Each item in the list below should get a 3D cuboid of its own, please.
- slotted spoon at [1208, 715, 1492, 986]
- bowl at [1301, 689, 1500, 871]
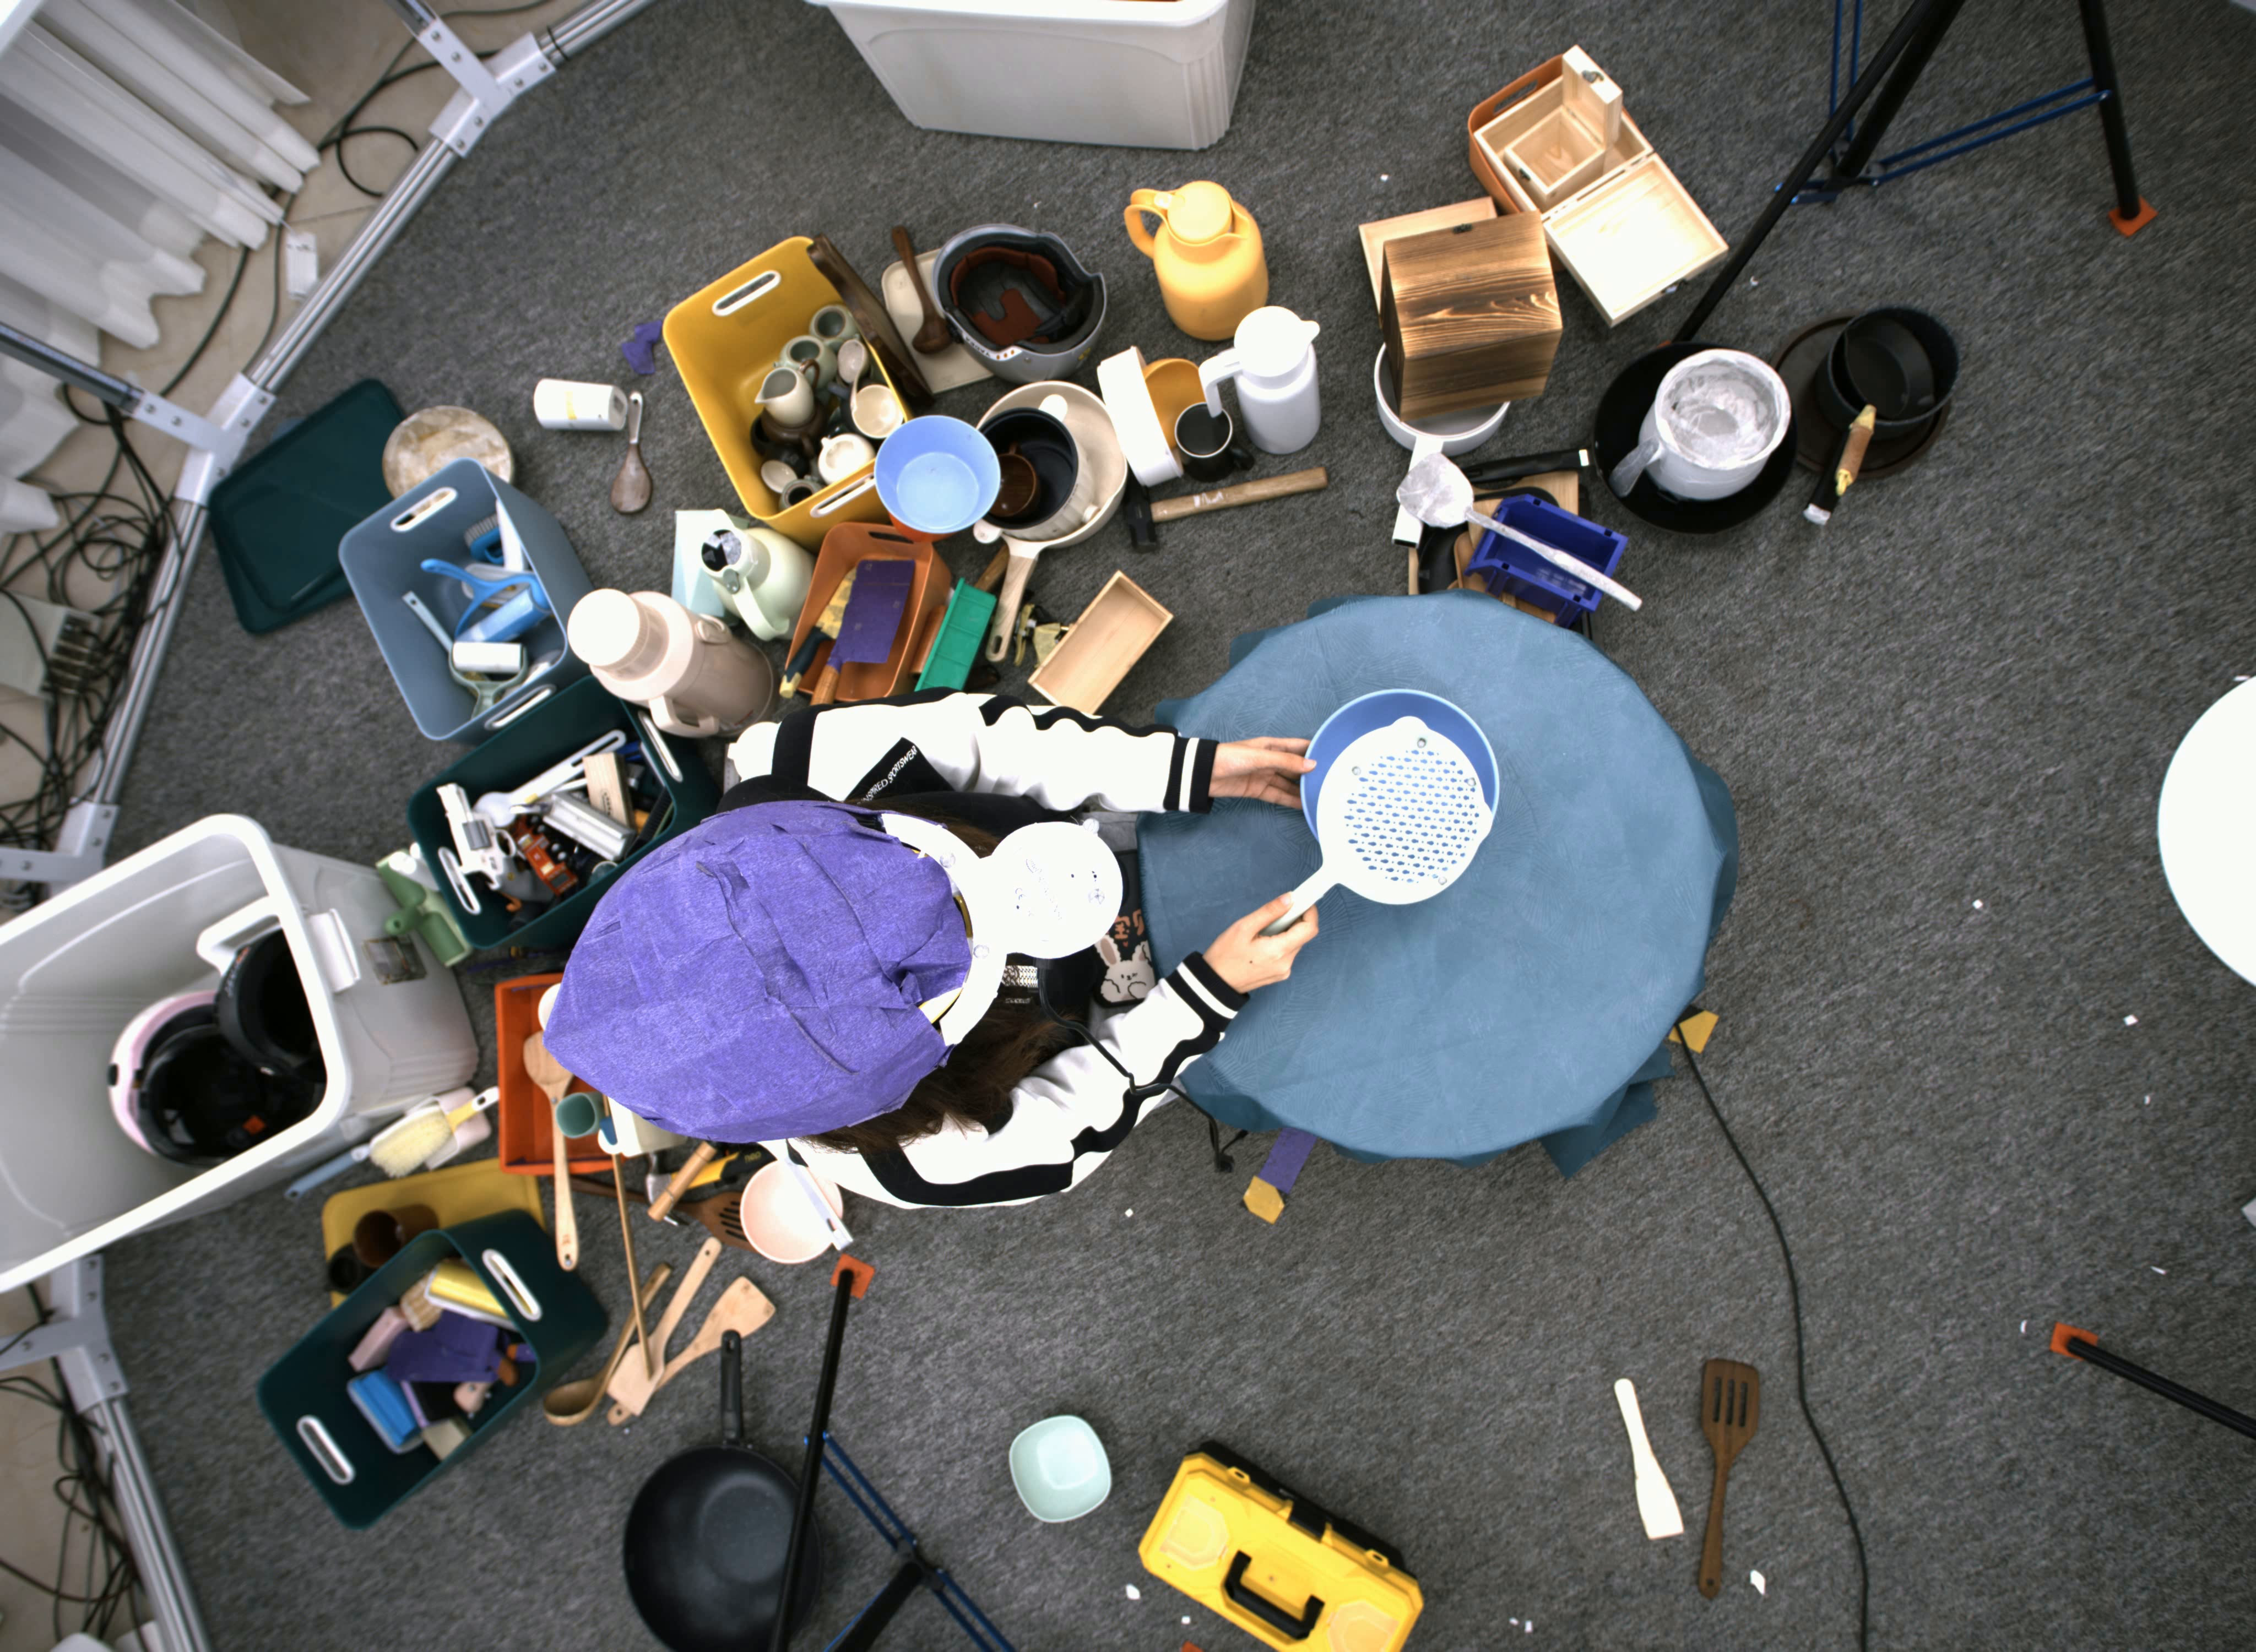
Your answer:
[{"bbox_3d":[0.200,0.049,1.363,0.364,0.075,0.167,-41,65,20],"label":"slotted spoon"},{"bbox_3d":[0.279,-0.037,1.417,0.197,0.095,0.196,-1,87,11],"label":"bowl"}]
